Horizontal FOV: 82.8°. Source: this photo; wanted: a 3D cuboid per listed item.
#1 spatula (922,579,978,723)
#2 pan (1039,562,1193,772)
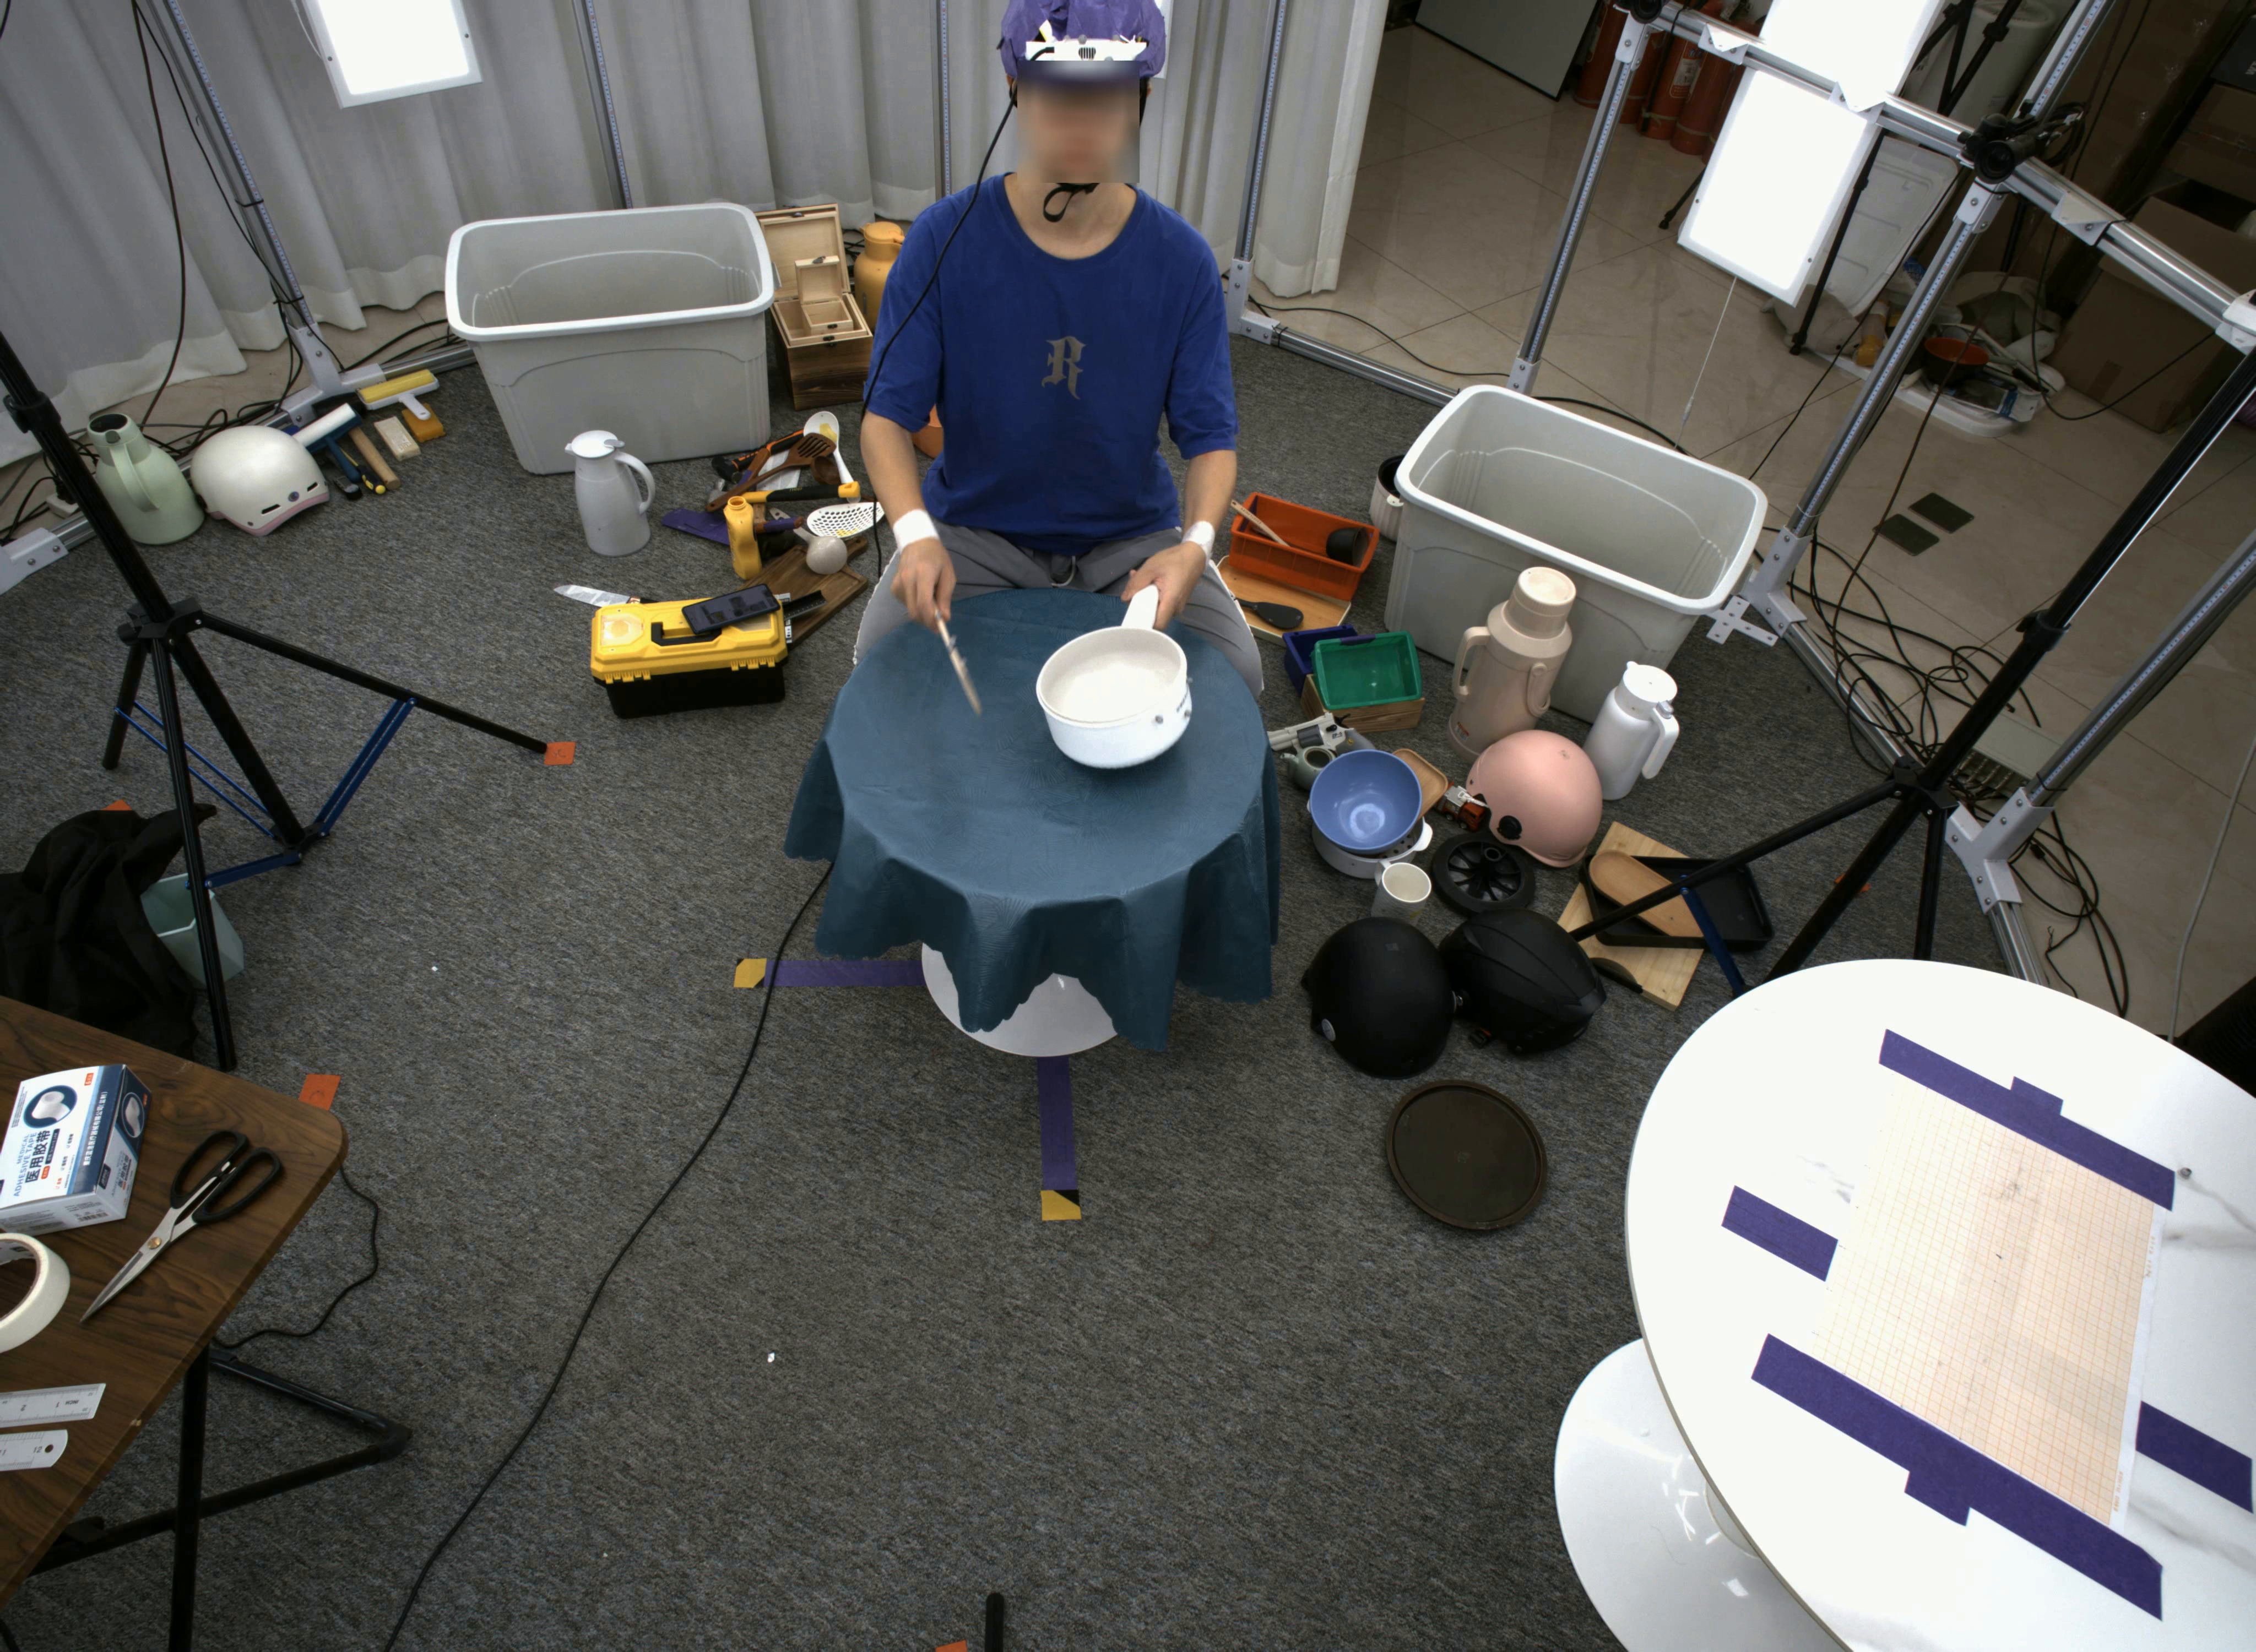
[{"bbox_3d":[-0.243,-0.246,1.714,0.010,0.070,0.300,-24,44,0],"label":"spatula"},{"bbox_3d":[0.008,-0.221,1.776,0.202,0.099,0.362,2,47,20],"label":"pan"}]
